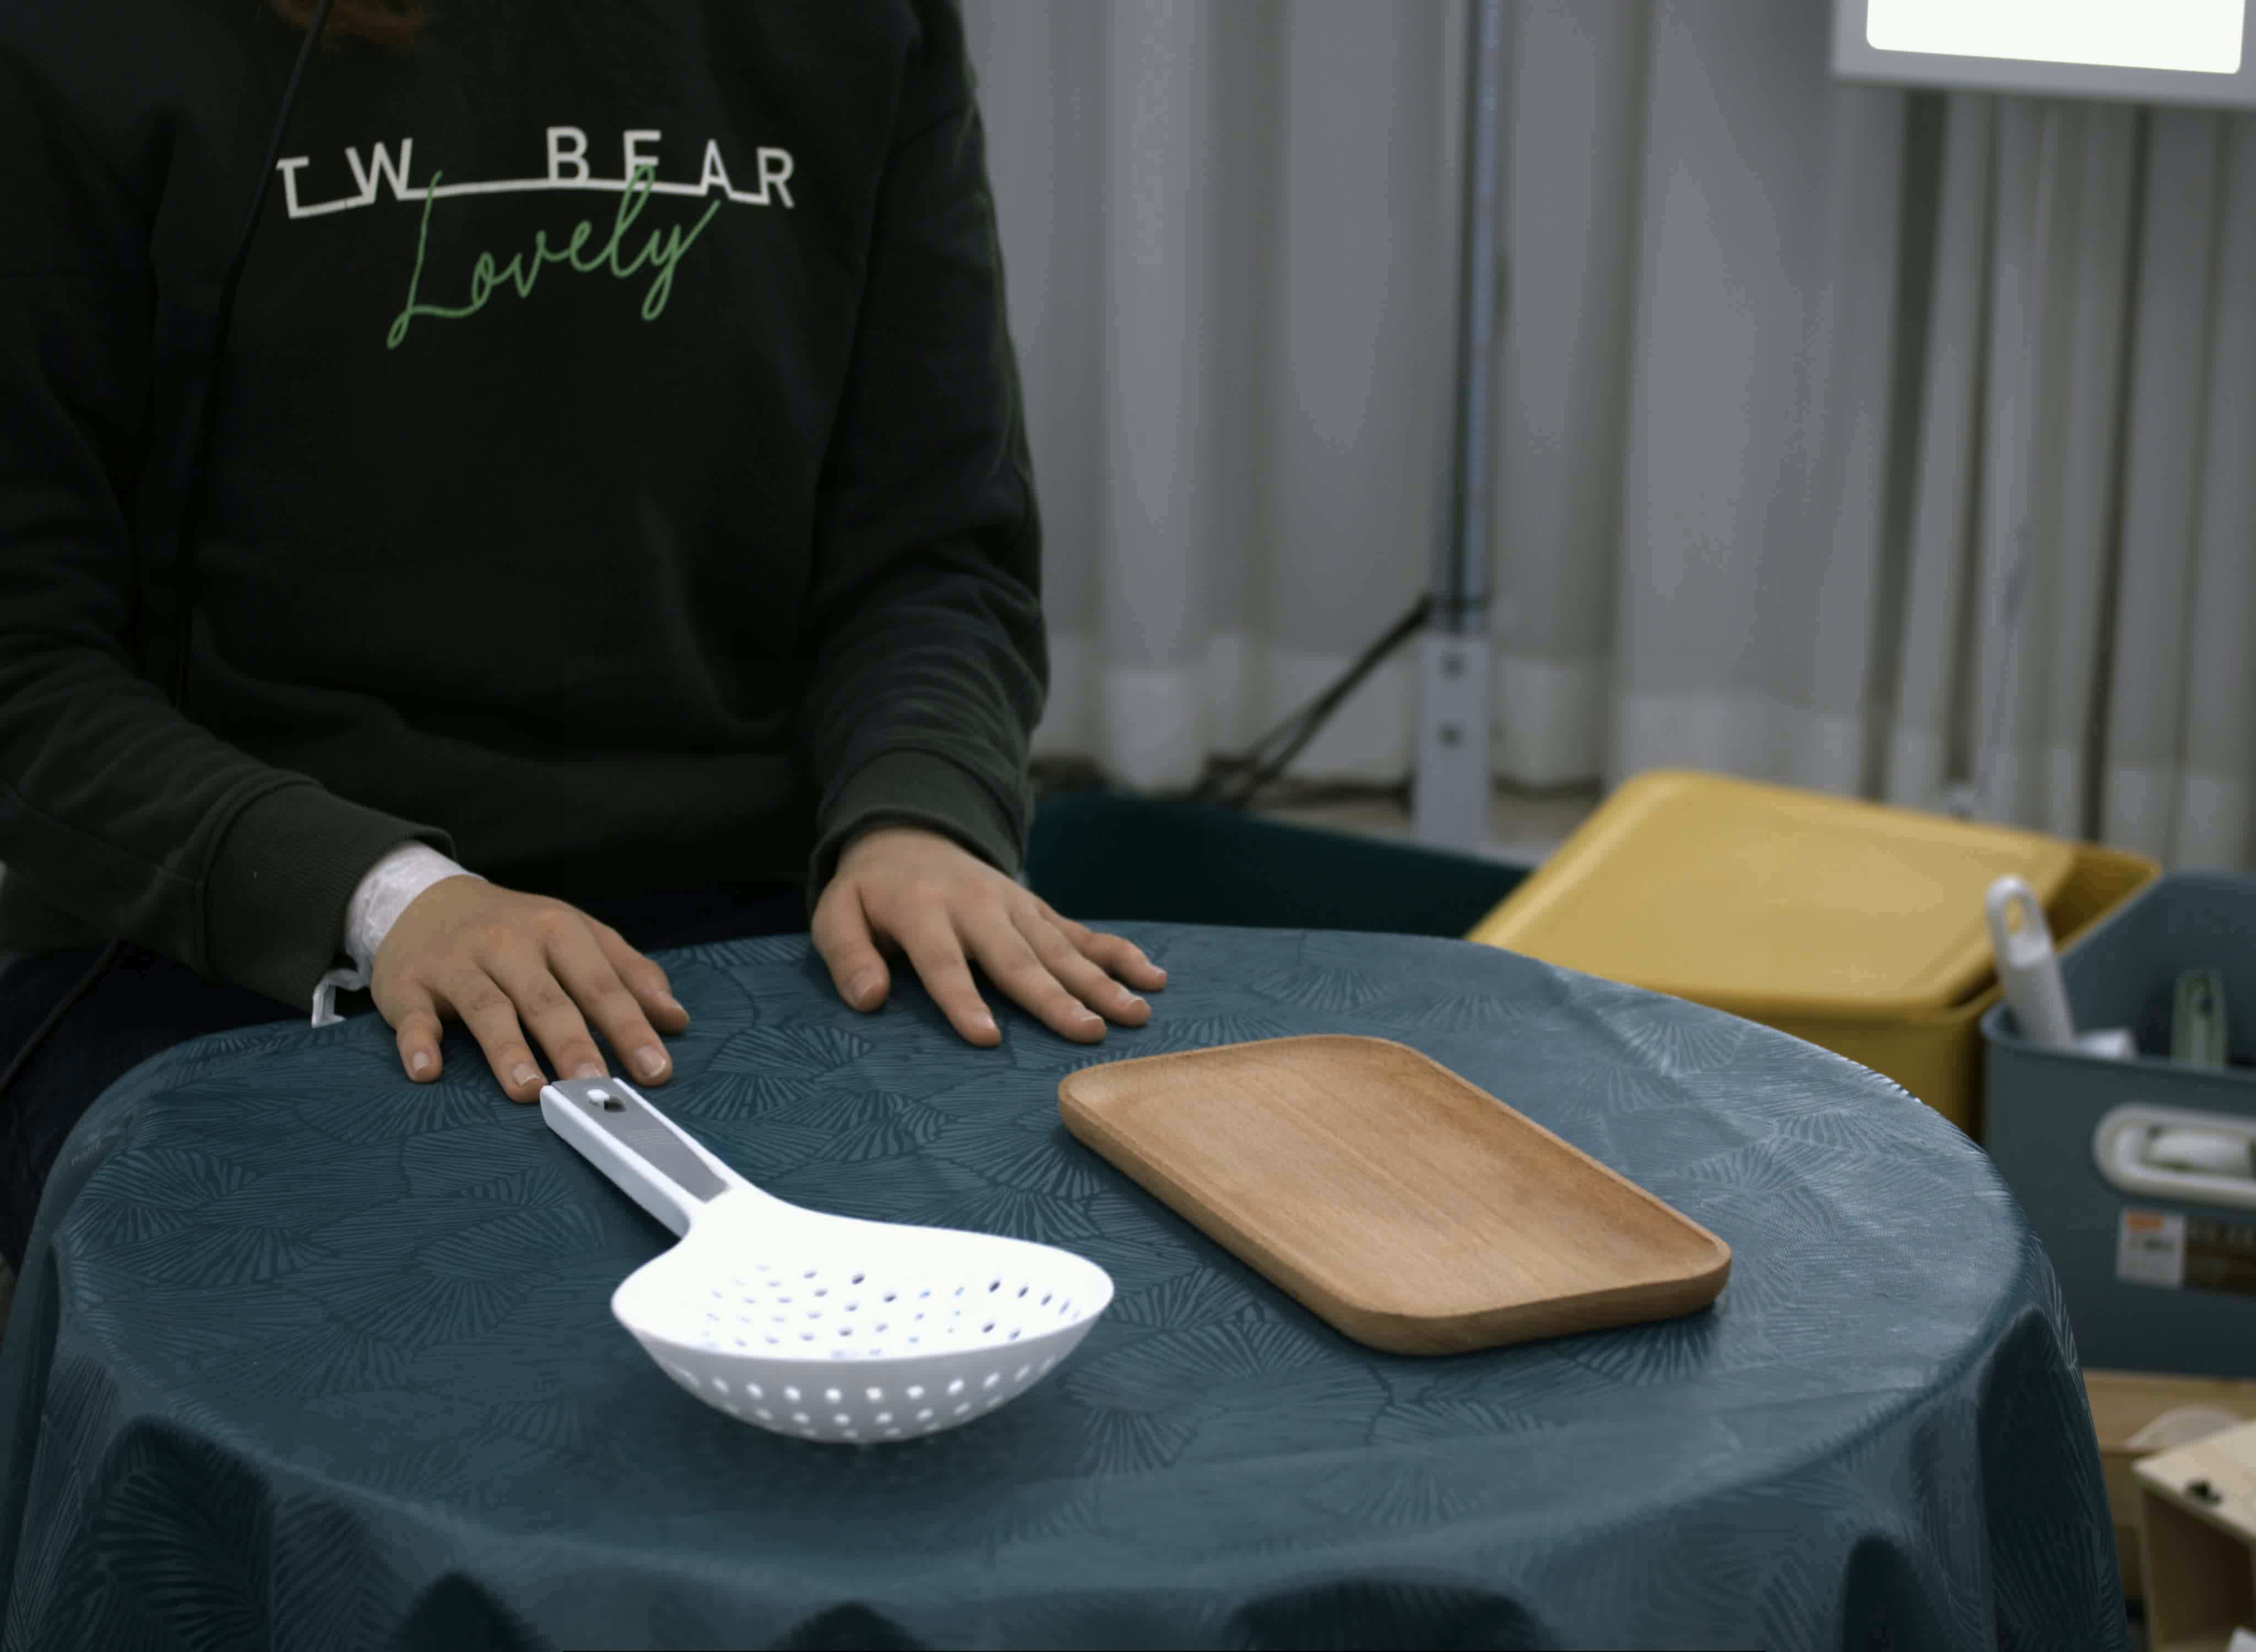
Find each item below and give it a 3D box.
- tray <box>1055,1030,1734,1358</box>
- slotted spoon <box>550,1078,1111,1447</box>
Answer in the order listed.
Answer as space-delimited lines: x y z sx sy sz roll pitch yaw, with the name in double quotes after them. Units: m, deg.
0.077 0.109 1.610 0.131 0.023 0.248 -4 16 -24 "tray"
-0.111 0.117 1.524 0.136 0.046 0.346 -3 15 -21 "slotted spoon"
